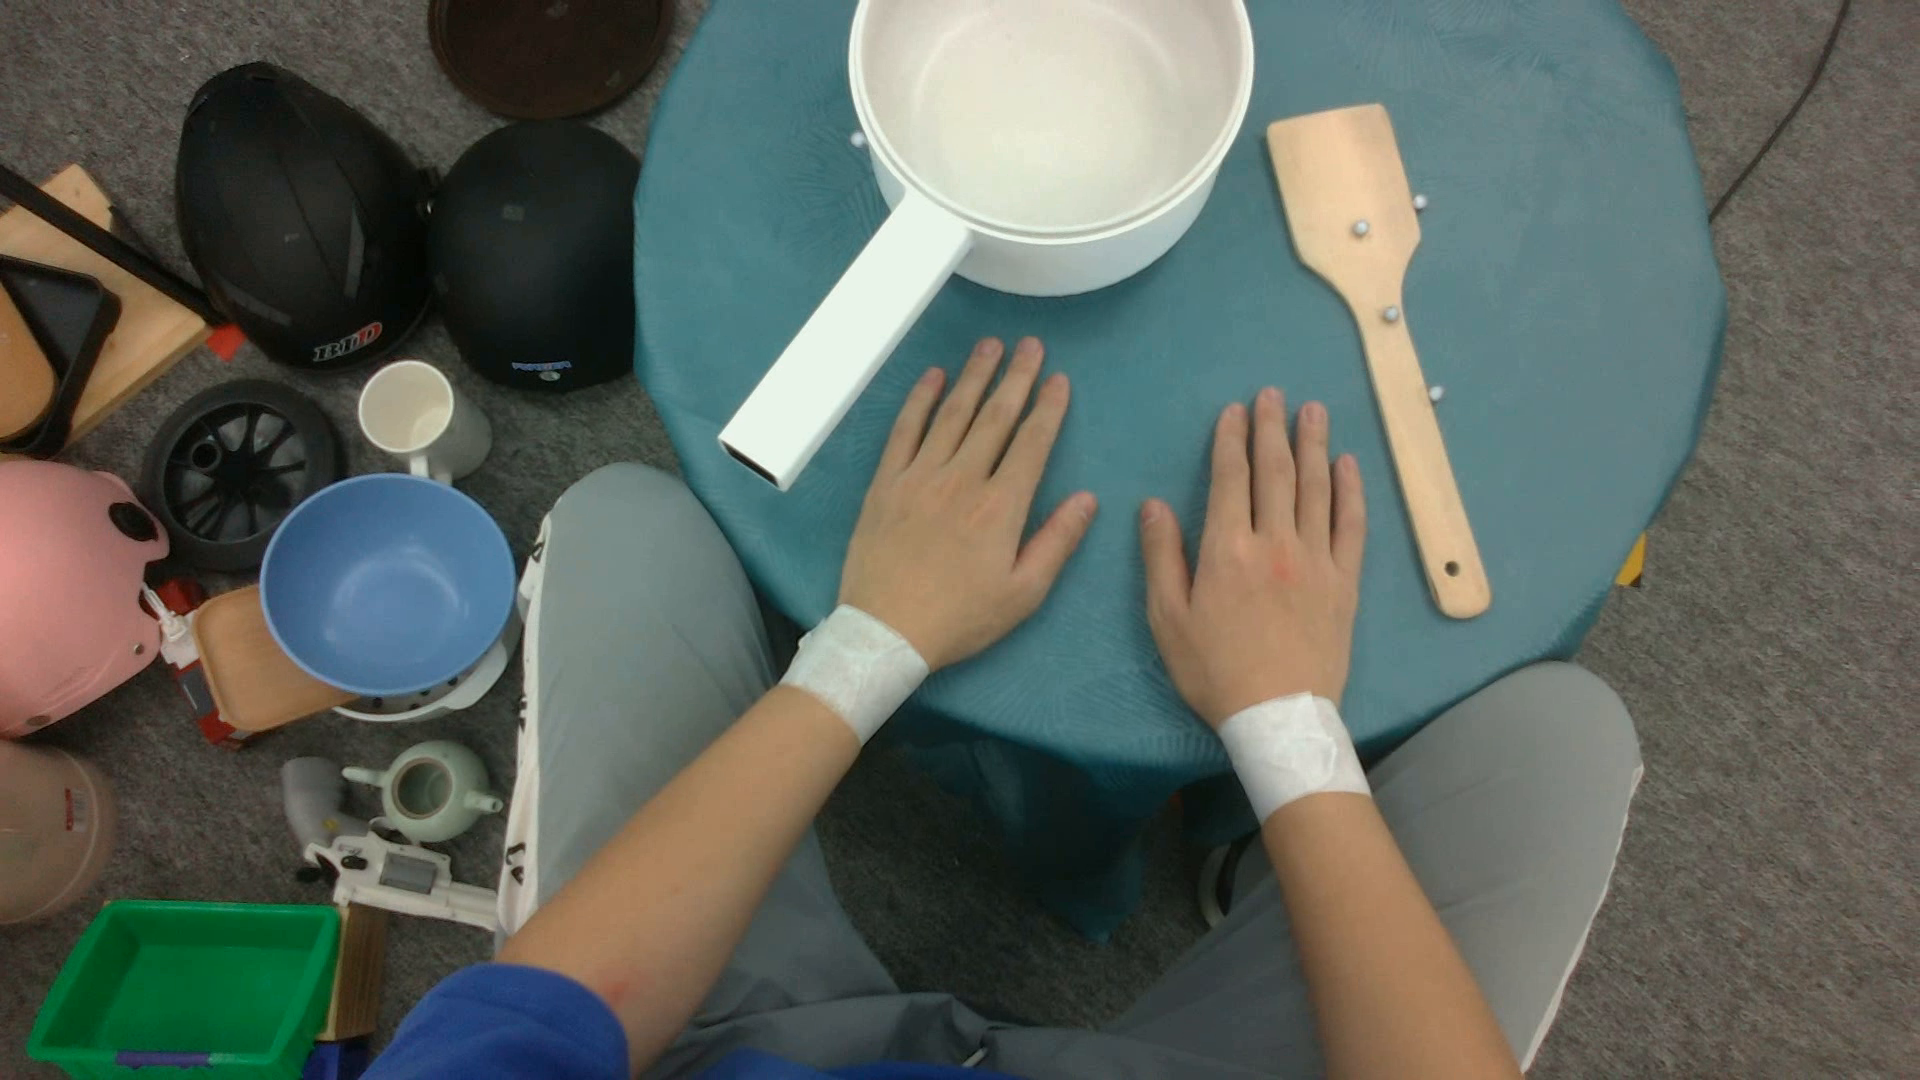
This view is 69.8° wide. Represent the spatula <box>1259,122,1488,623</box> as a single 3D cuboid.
[{"bbox_3d":[0.234,-0.096,0.752,0.072,0.010,0.293,-12,75,-3],"label":"spatula"}]

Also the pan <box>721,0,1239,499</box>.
[{"bbox_3d":[0.001,-0.166,0.734,0.201,0.102,0.355,33,79,7],"label":"pan"}]
